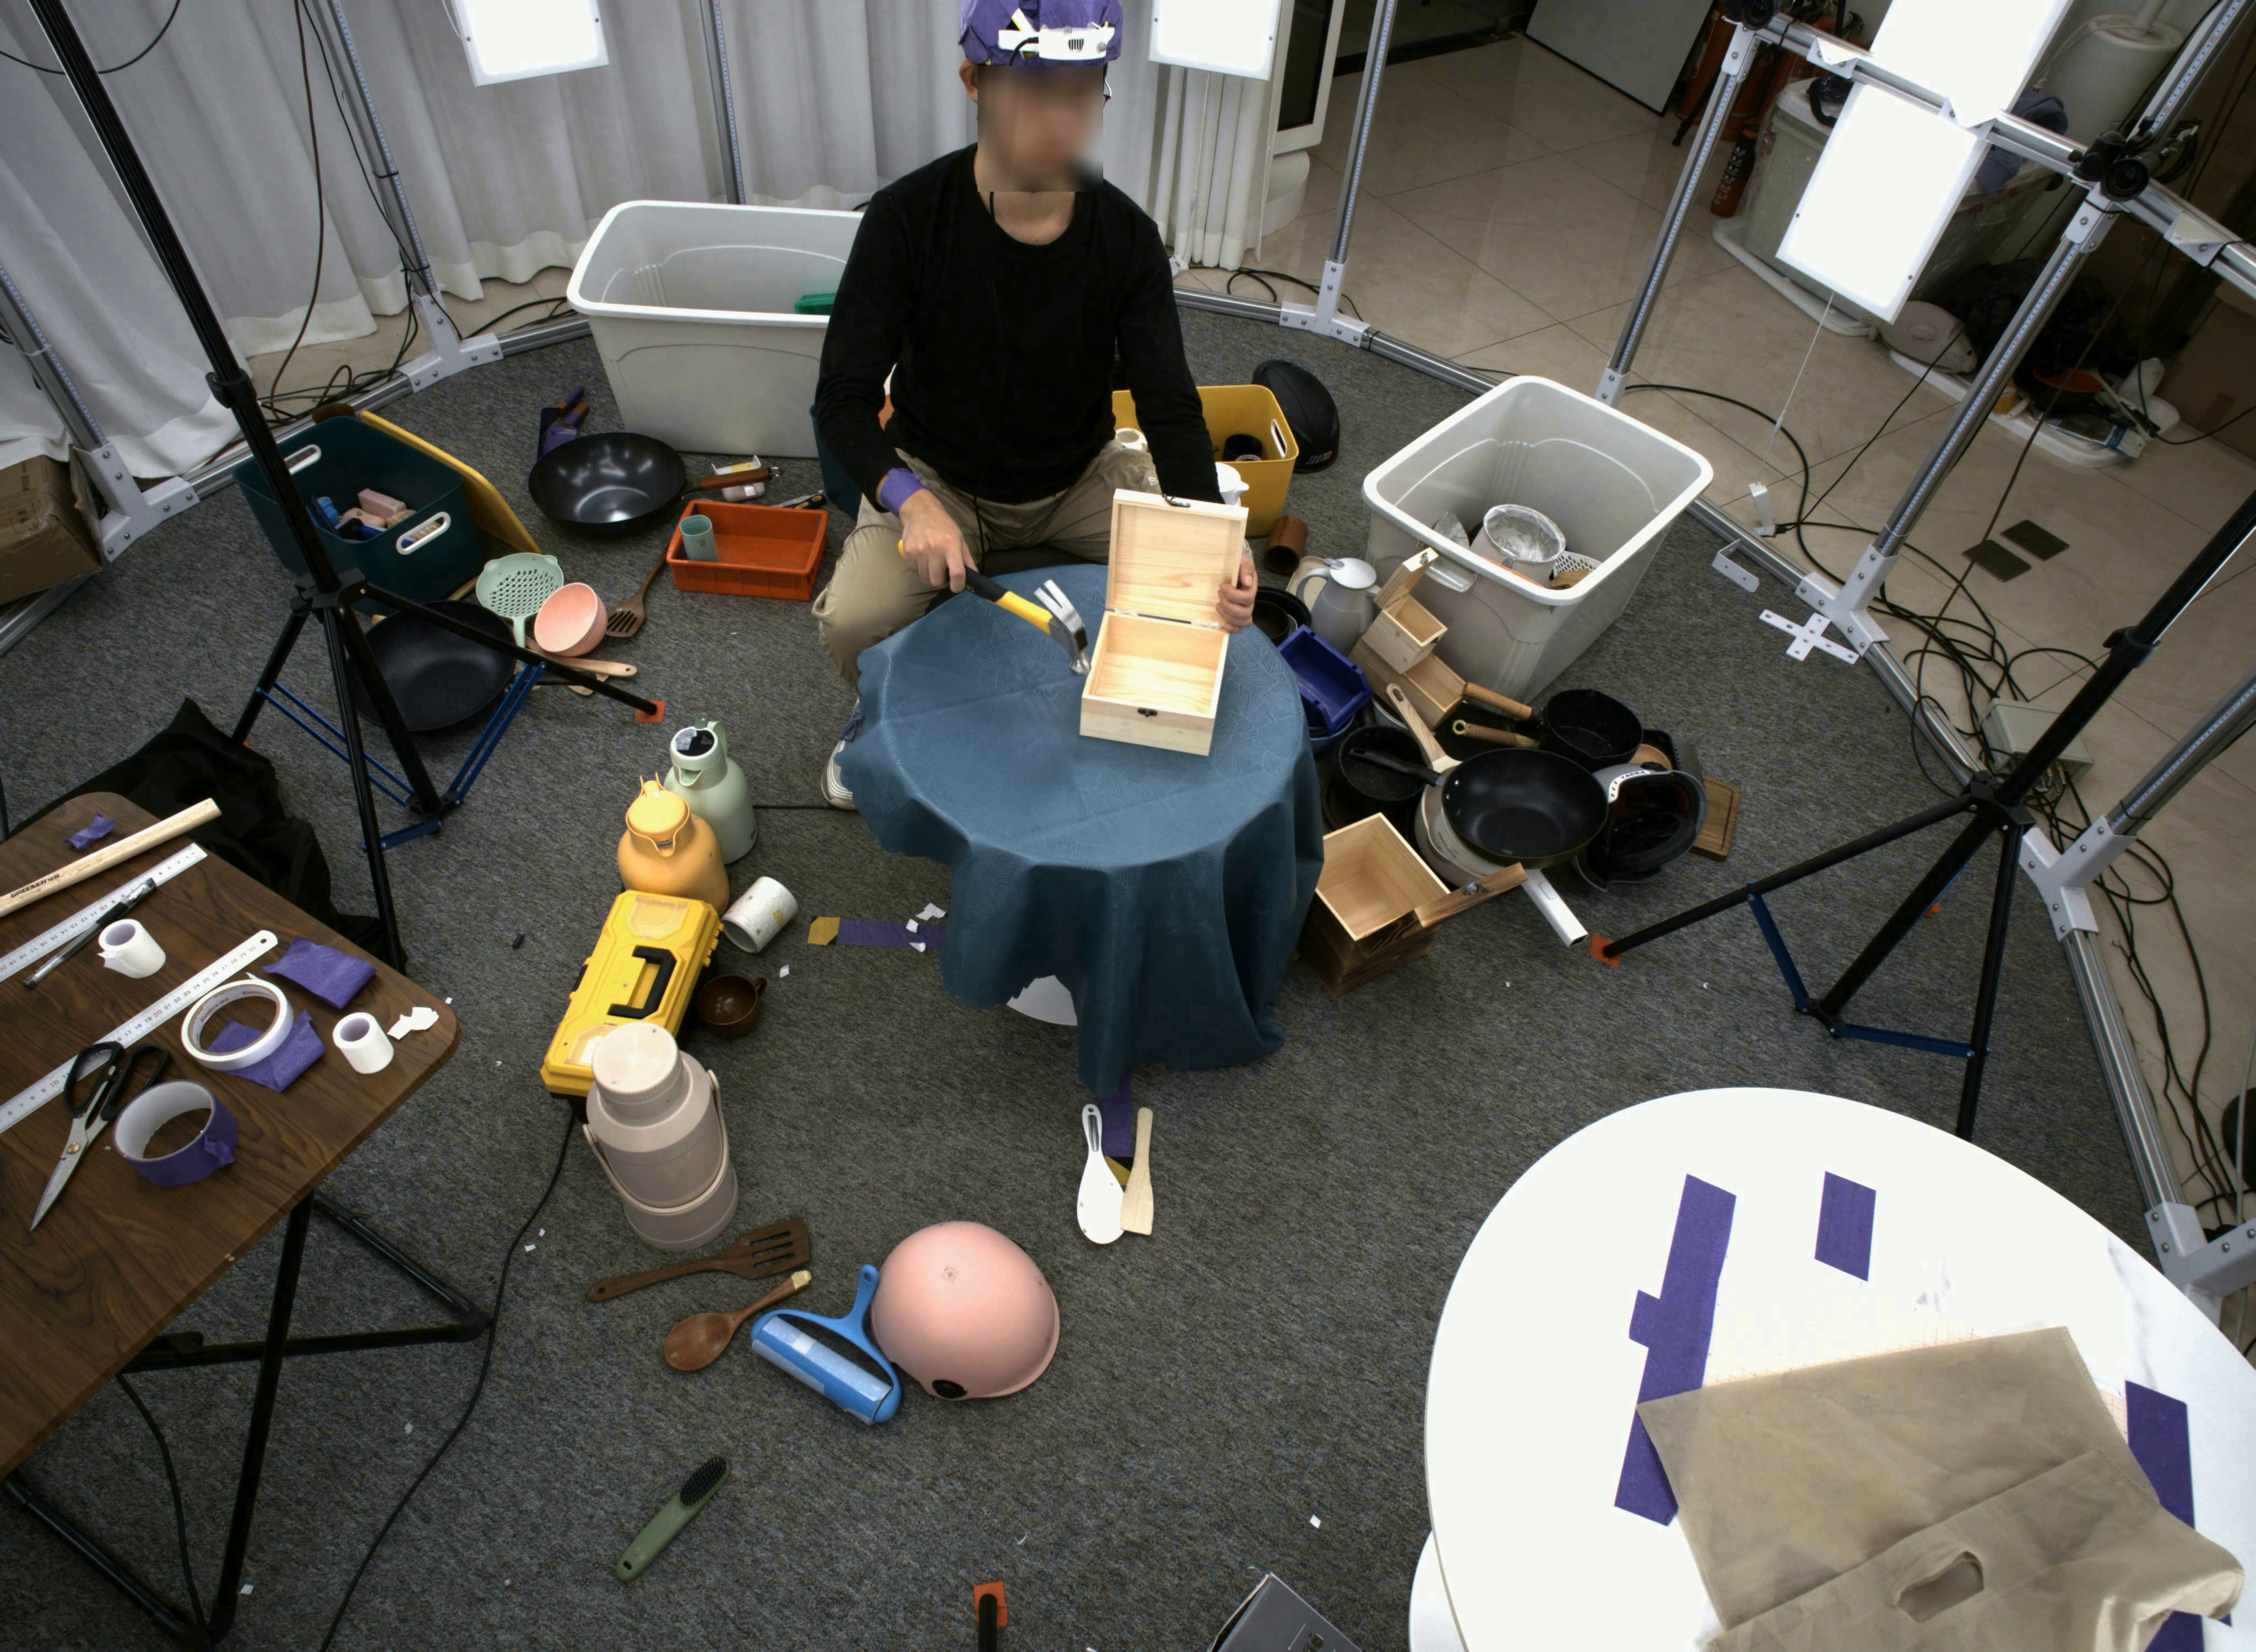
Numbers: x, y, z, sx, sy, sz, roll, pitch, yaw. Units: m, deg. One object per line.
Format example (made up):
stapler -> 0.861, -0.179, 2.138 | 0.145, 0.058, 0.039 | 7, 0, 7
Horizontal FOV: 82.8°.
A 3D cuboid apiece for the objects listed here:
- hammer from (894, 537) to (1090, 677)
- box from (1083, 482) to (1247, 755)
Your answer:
hammer -> -0.190, -0.317, 1.742 | 0.343, 0.128, 0.032 | 30, 63, 29
box -> 0.049, -0.282, 1.755 | 0.182, 0.247, 0.271 | 8, 50, 5
